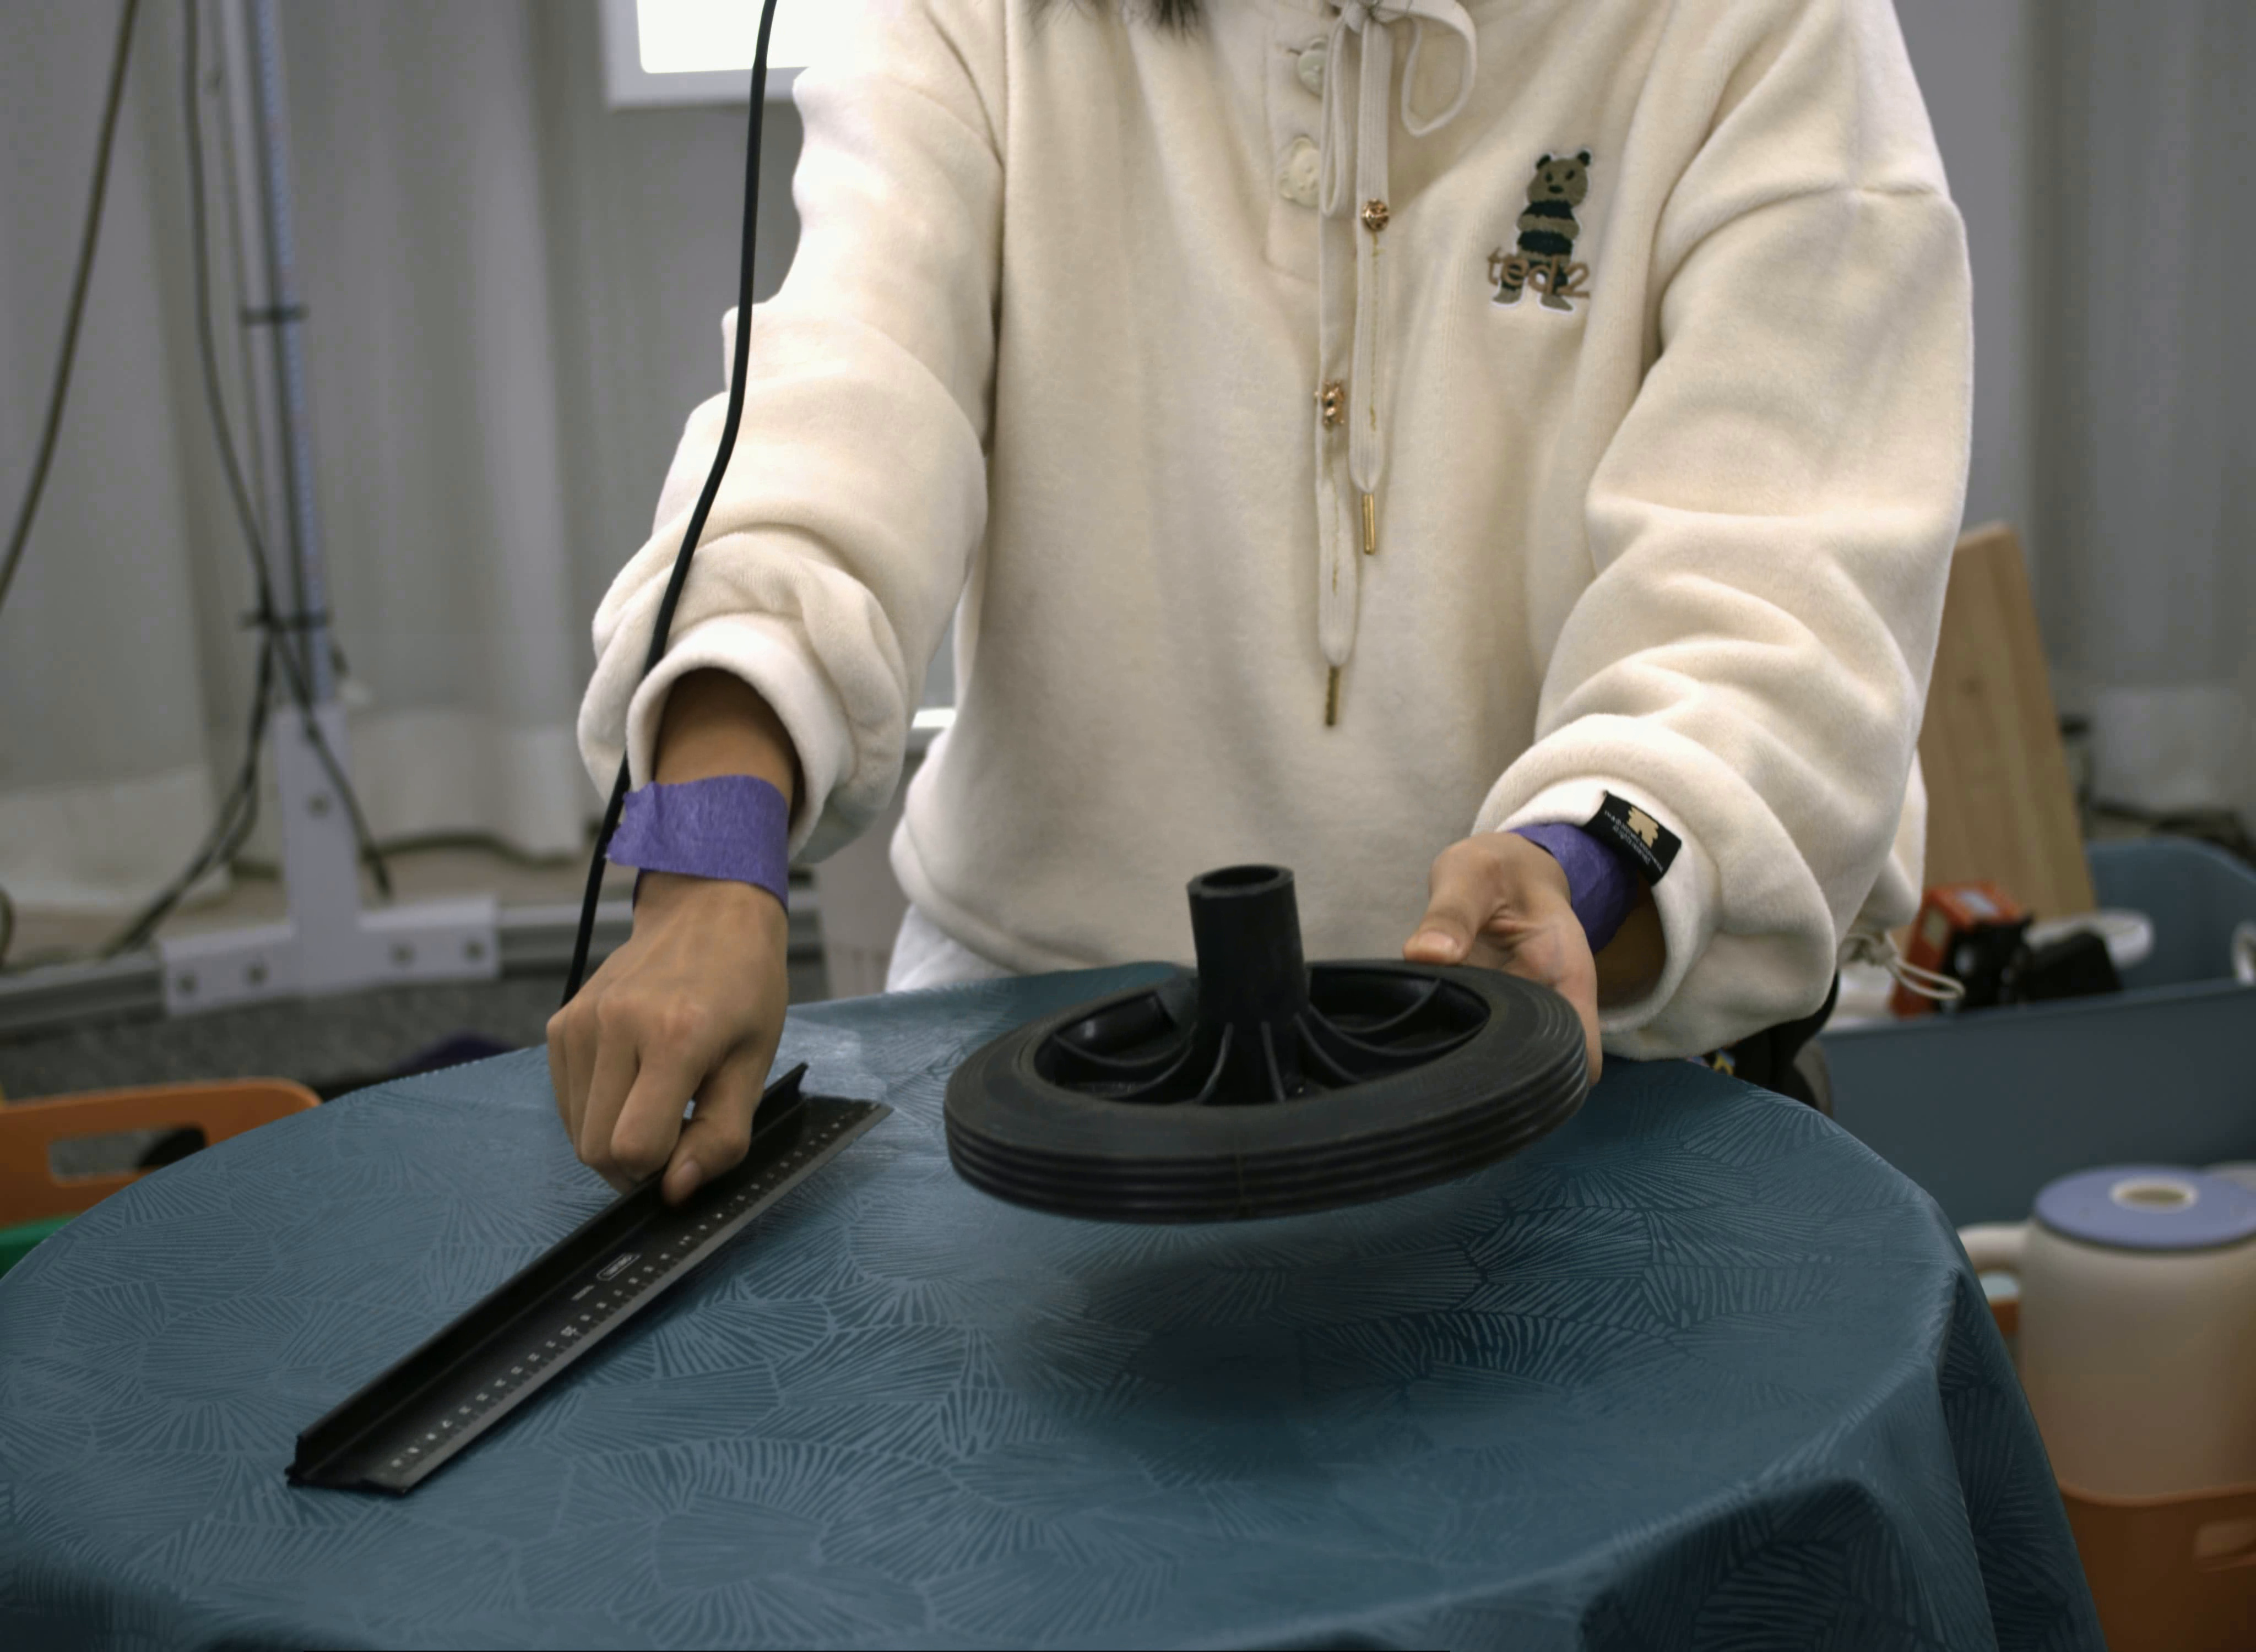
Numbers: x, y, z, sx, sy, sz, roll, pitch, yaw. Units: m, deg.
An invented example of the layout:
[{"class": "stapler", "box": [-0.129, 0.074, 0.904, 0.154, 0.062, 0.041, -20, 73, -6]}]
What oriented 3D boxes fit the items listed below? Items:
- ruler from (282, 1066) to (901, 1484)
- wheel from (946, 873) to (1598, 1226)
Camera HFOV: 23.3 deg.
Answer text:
[{"class": "ruler", "box": [-0.153, 0.129, 1.632, 0.039, 0.017, 0.313, 5, 19, 24]}, {"class": "wheel", "box": [0.039, 0.056, 1.580, 0.190, 0.079, 0.187, 6, 19, 41]}]
